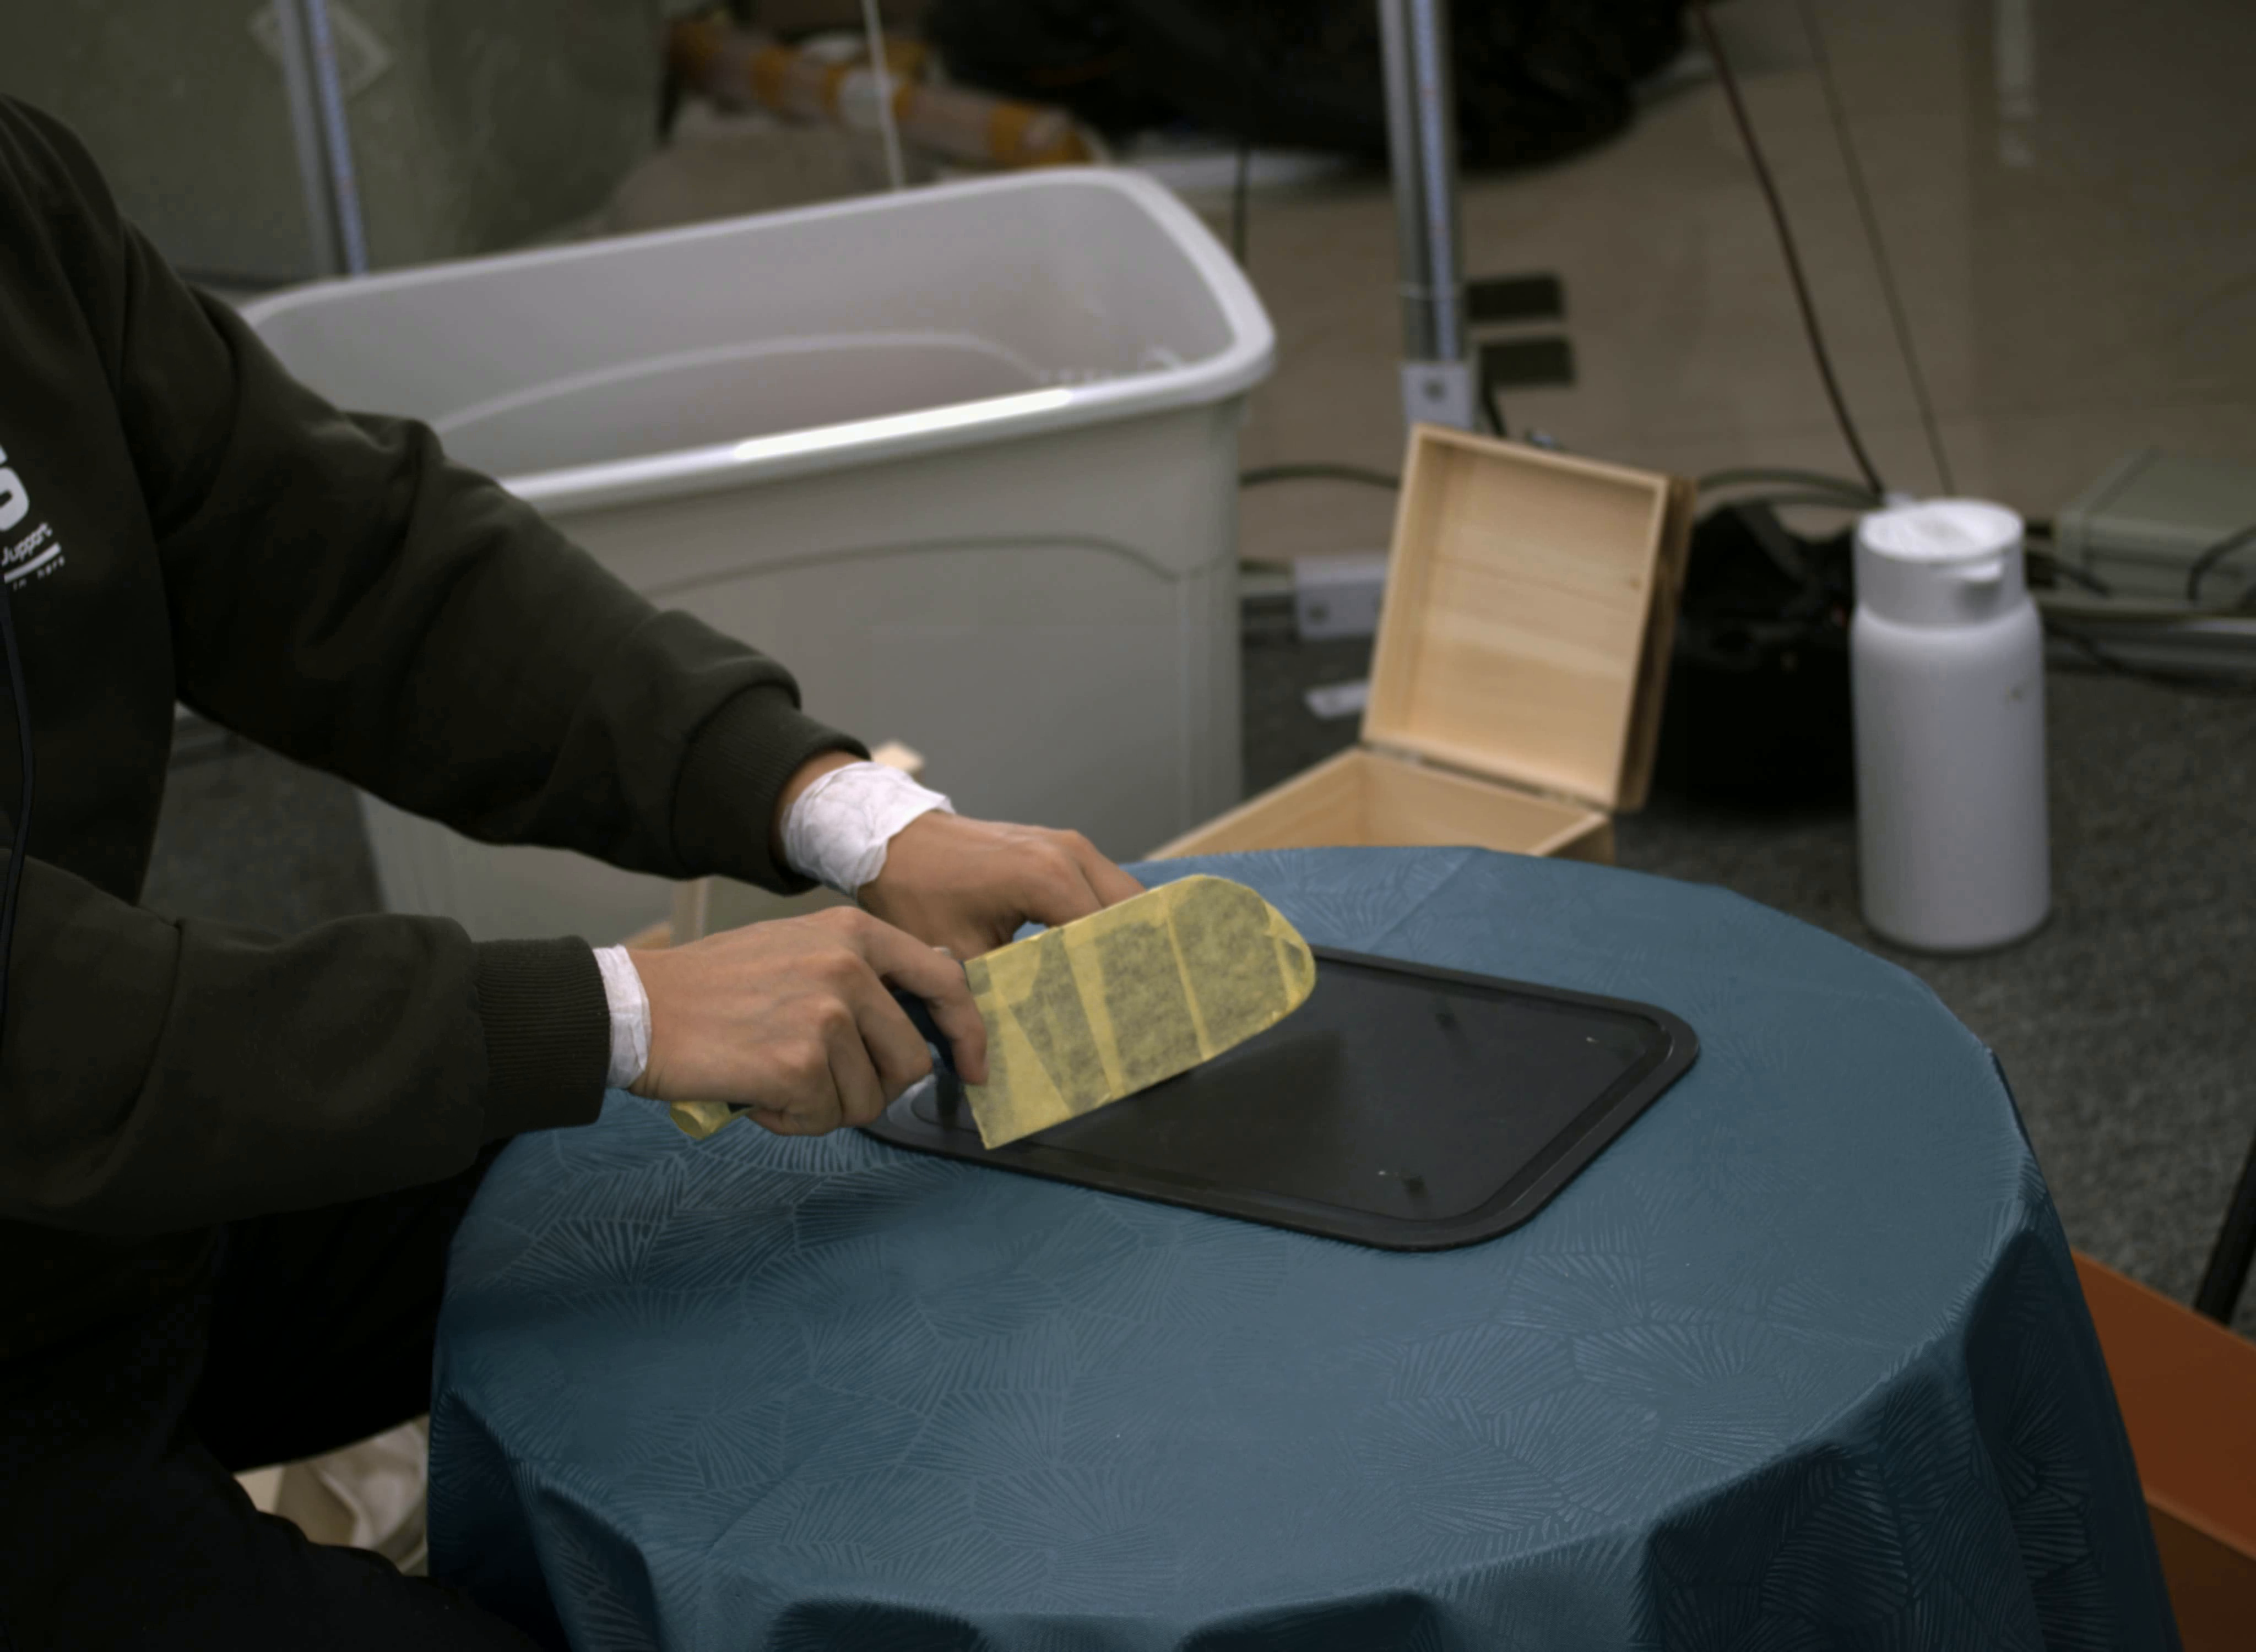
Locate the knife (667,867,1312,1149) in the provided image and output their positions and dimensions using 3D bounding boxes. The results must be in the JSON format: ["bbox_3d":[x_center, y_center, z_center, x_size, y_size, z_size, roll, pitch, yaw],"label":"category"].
[{"bbox_3d":[-0.047,0.081,2.187,0.288,0.081,0.027,-17,7,-29],"label":"knife"}]

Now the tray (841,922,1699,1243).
[{"bbox_3d":[0.047,0.094,2.227,0.324,0.010,0.209,10,29,31],"label":"tray"}]
